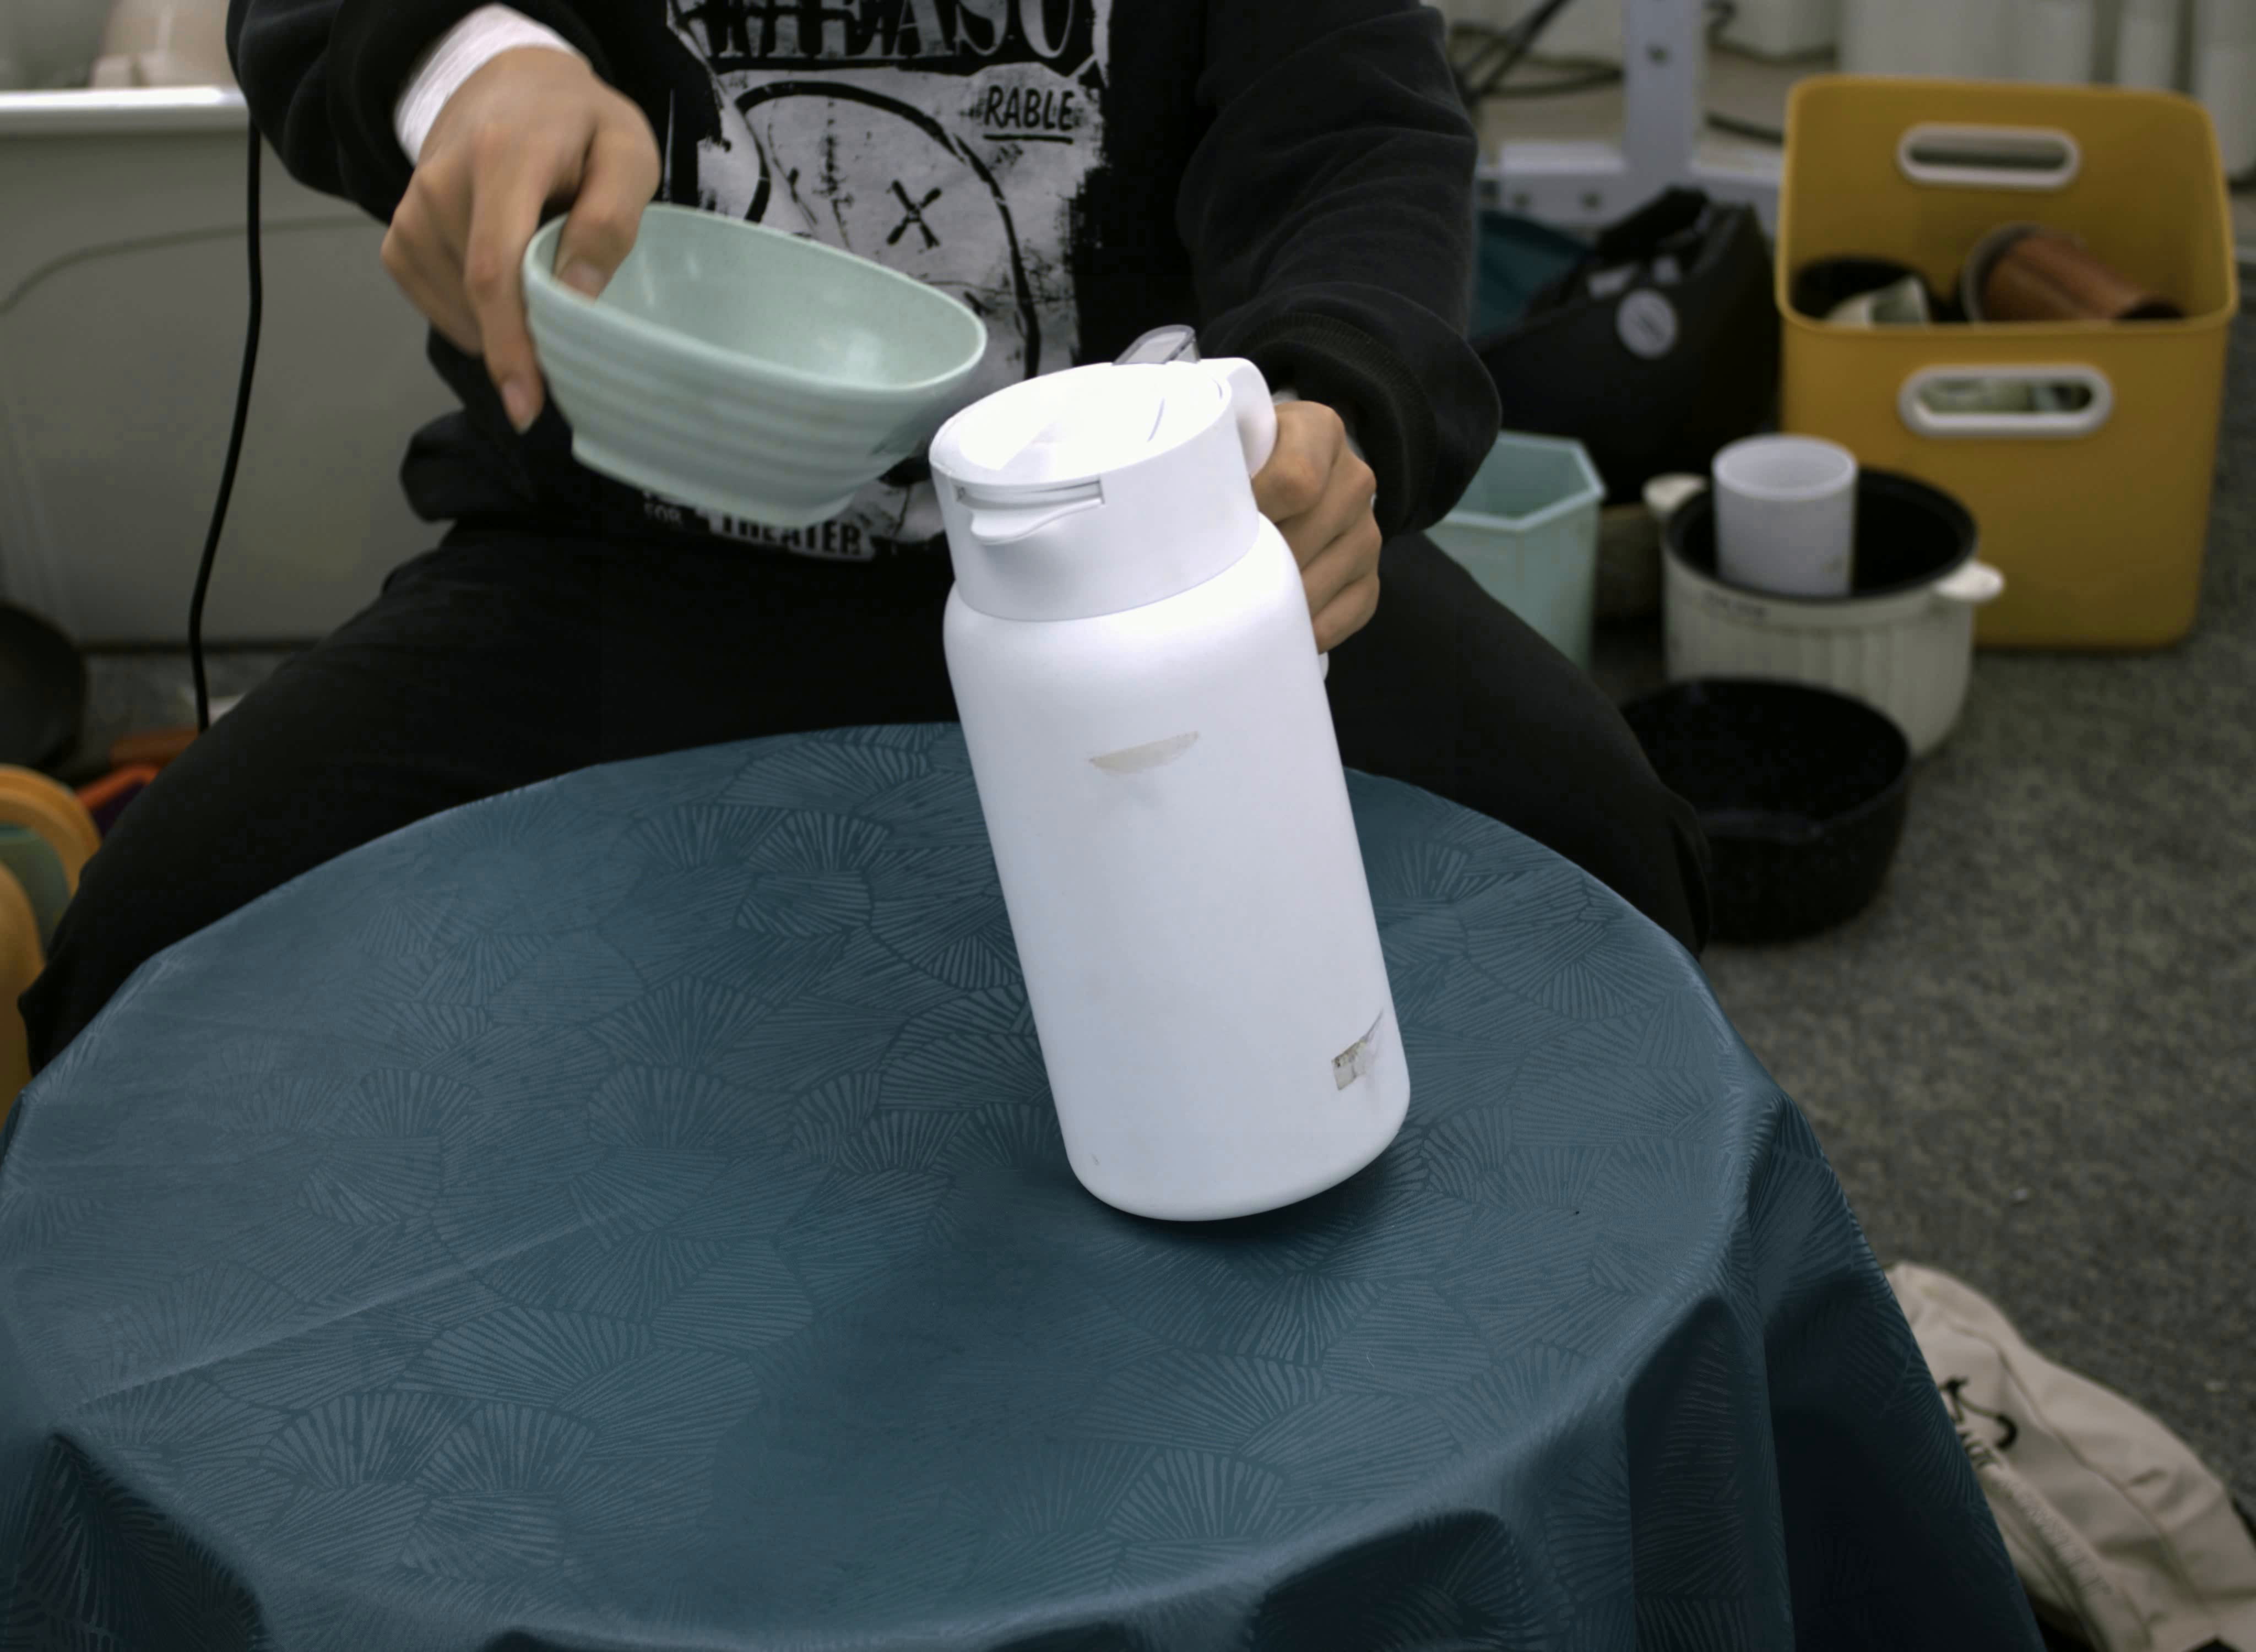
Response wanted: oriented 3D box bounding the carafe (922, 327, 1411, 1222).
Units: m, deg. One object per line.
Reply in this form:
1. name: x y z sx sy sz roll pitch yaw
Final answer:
1. carafe: 0.016 -0.020 1.834 0.122 0.267 0.176 -4 25 27

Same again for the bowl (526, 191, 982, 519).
1. bowl: -0.120 -0.139 1.718 0.151 0.058 0.153 16 19 -5
